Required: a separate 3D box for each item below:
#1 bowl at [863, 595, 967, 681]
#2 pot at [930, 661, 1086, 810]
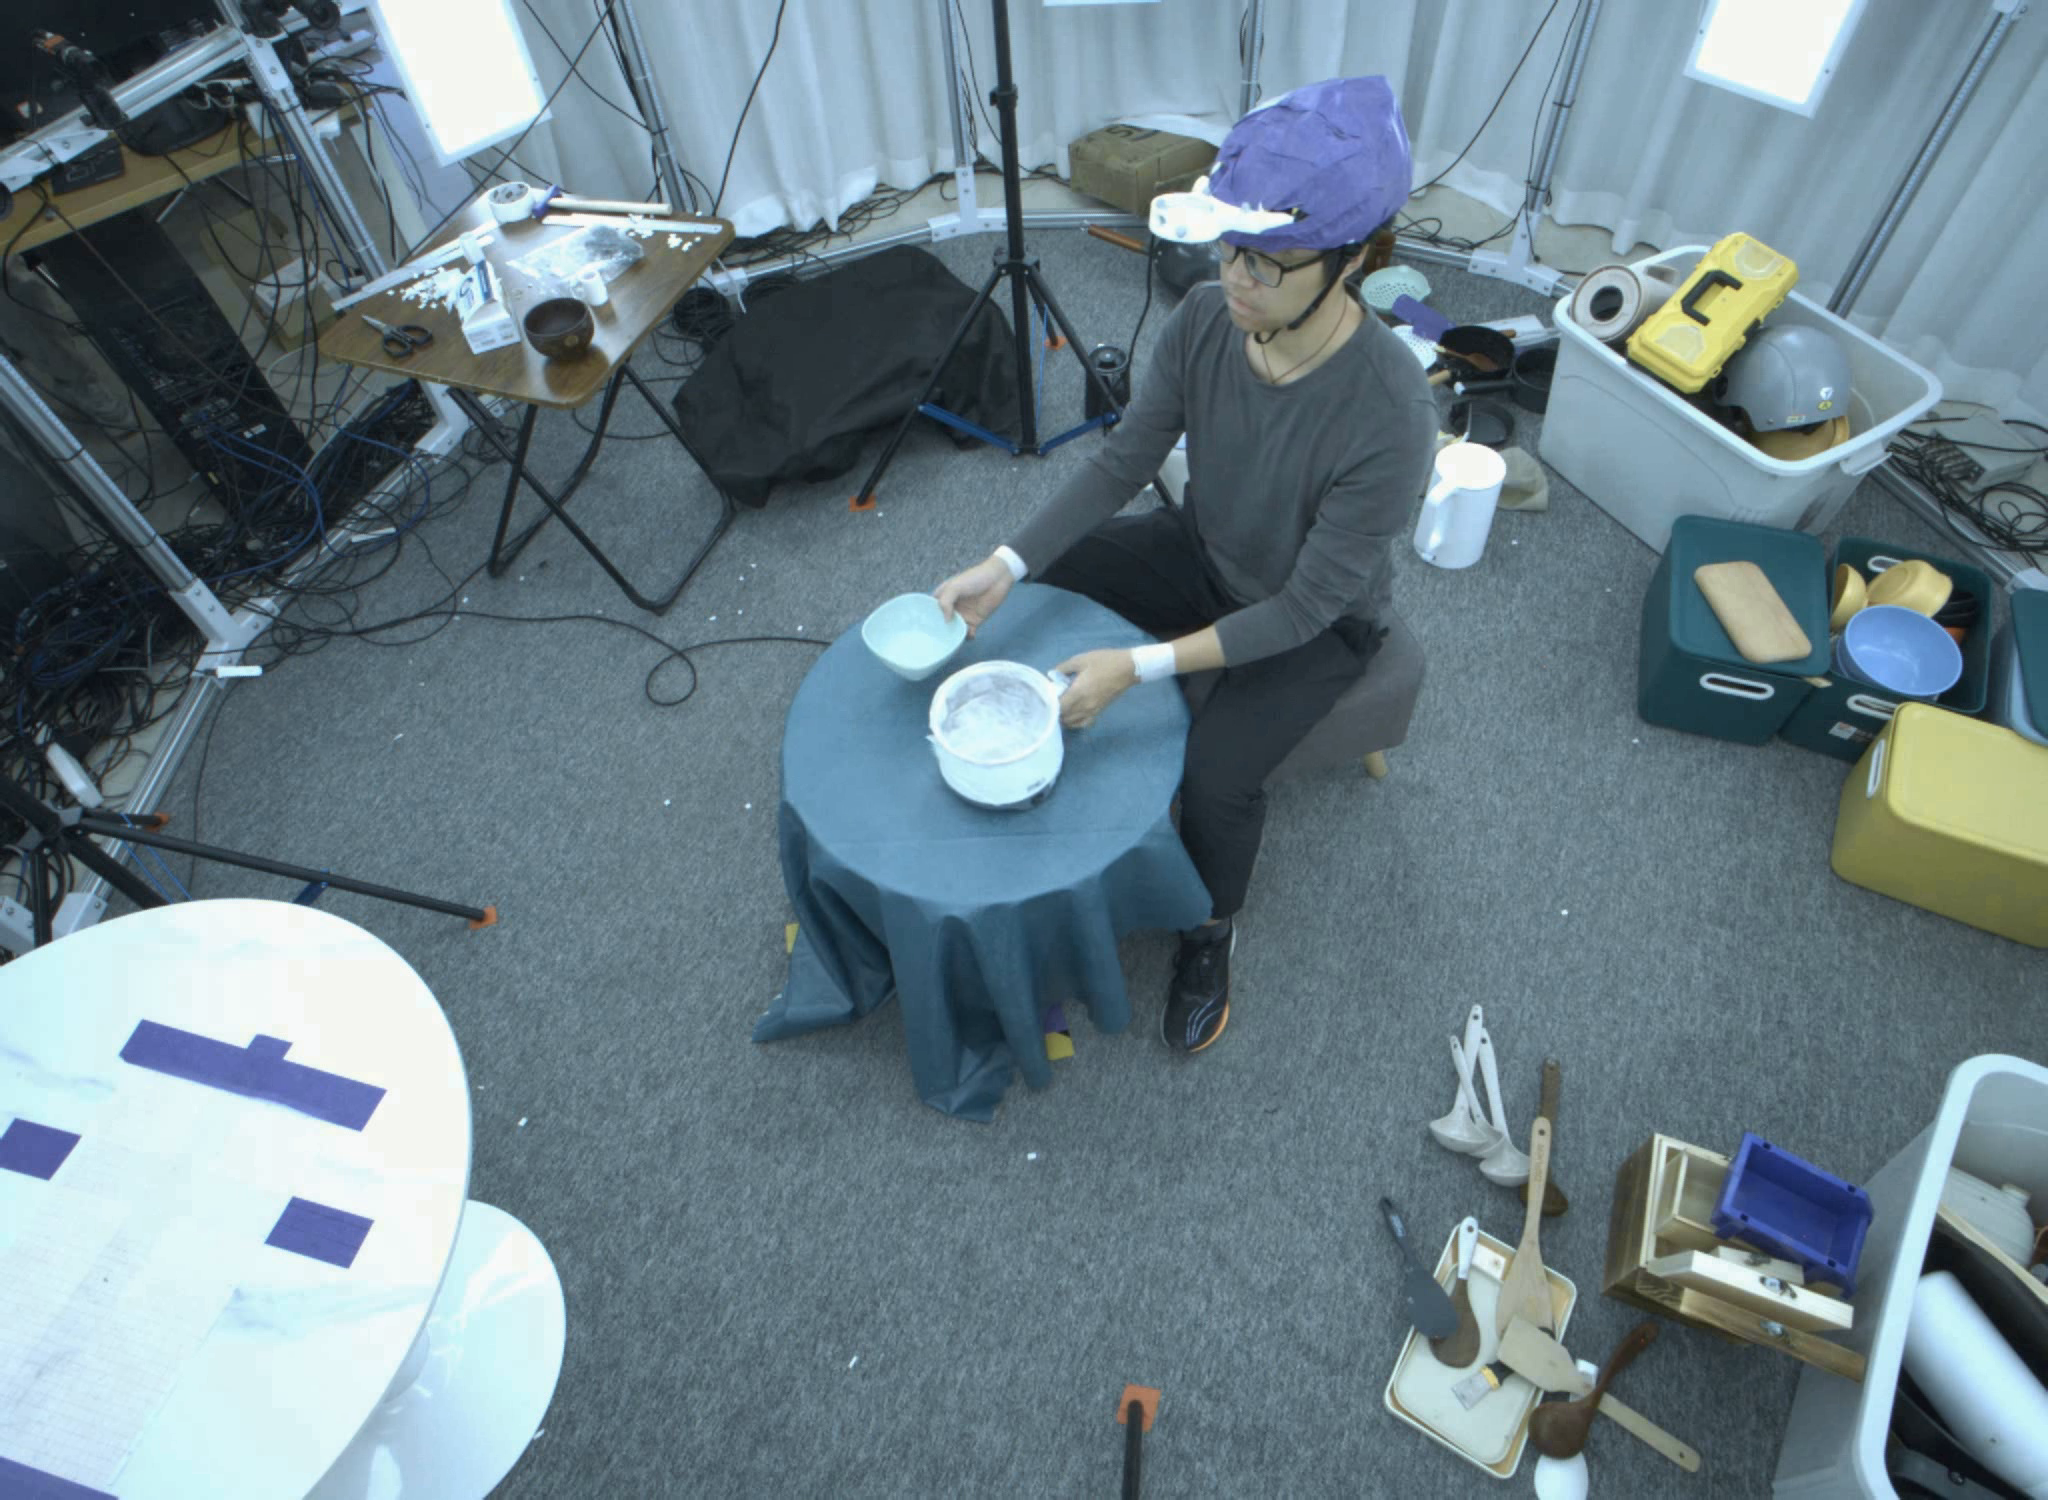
[{"bbox_3d":[-0.160,-0.156,1.804,0.151,0.059,0.150,2,51,-1],"label":"bowl"},{"bbox_3d":[-0.014,-0.031,1.733,0.235,0.138,0.175,-33,59,-20],"label":"pot"}]
